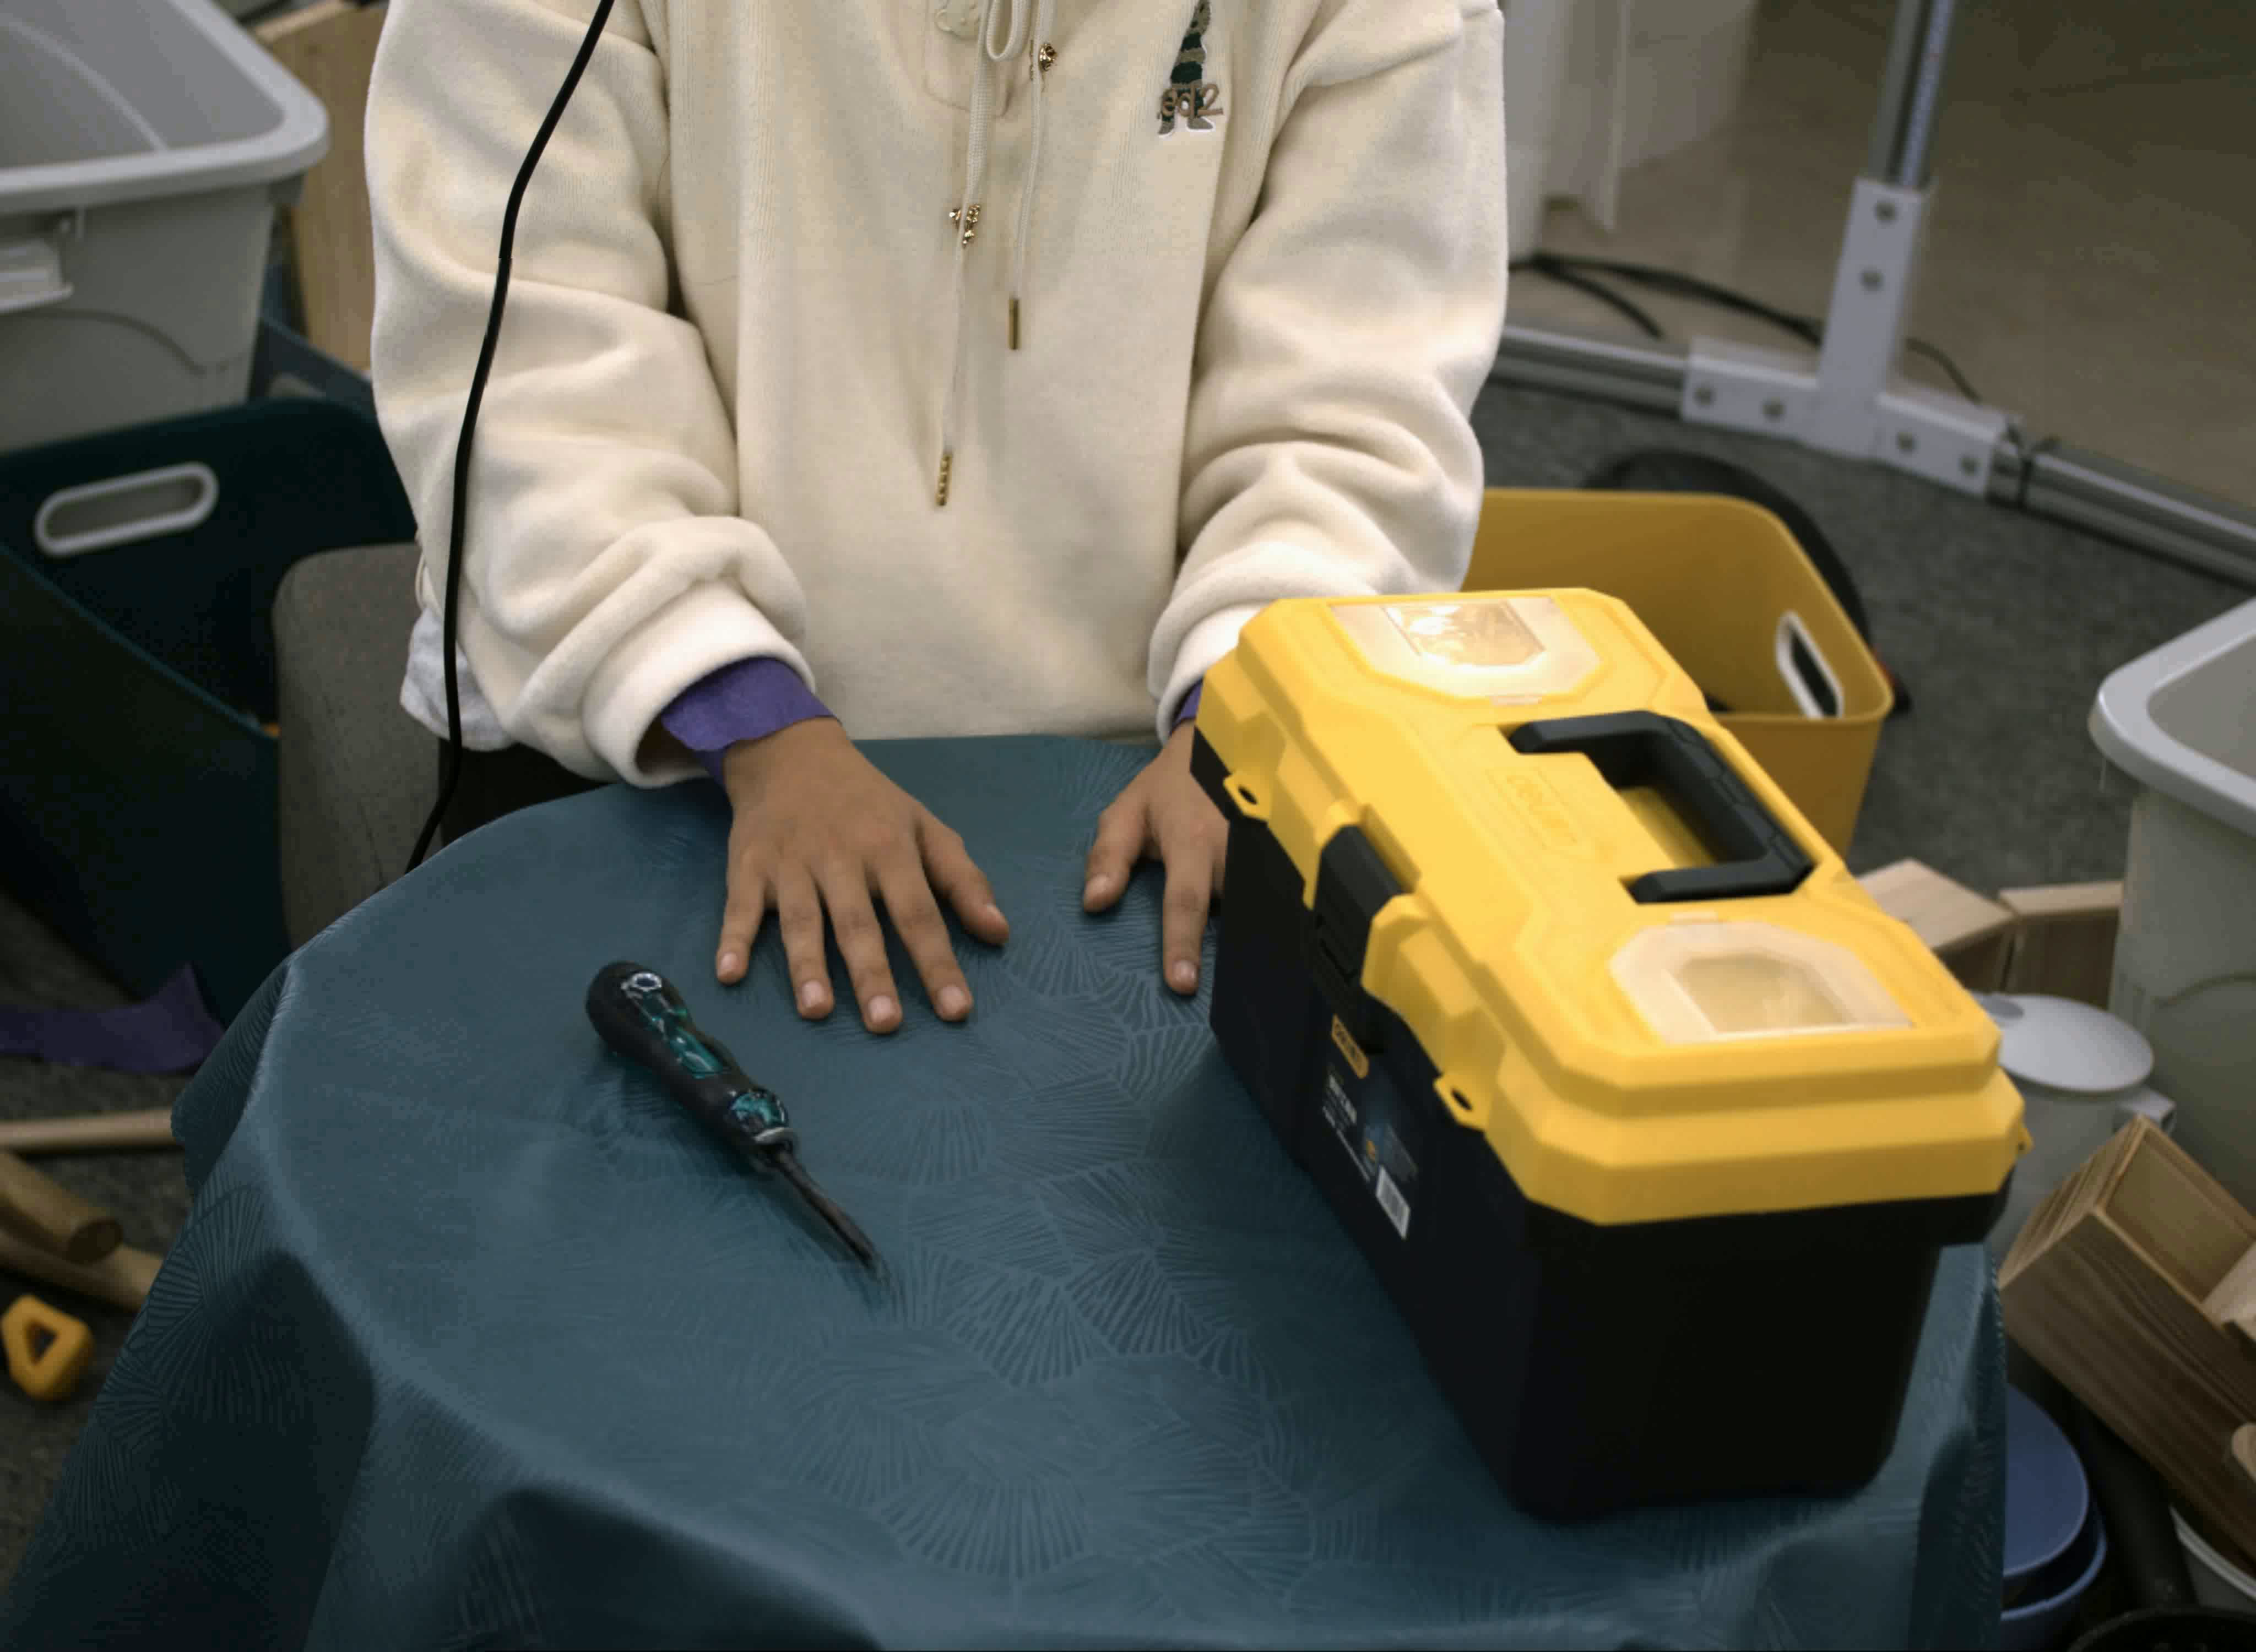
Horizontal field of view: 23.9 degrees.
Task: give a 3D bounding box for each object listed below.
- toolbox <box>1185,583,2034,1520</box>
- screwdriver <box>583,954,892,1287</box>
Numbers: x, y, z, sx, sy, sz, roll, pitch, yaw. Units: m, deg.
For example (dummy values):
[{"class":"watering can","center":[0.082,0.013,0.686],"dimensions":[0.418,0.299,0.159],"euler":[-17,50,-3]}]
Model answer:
[{"class":"toolbox","center":[0.145,0.067,1.756],"dimensions":[0.180,0.172,0.354],"euler":[-3,28,-18]},{"class":"screwdriver","center":[-0.130,0.101,1.793],"dimensions":[0.033,0.033,0.192],"euler":[-11,37,-33]}]
